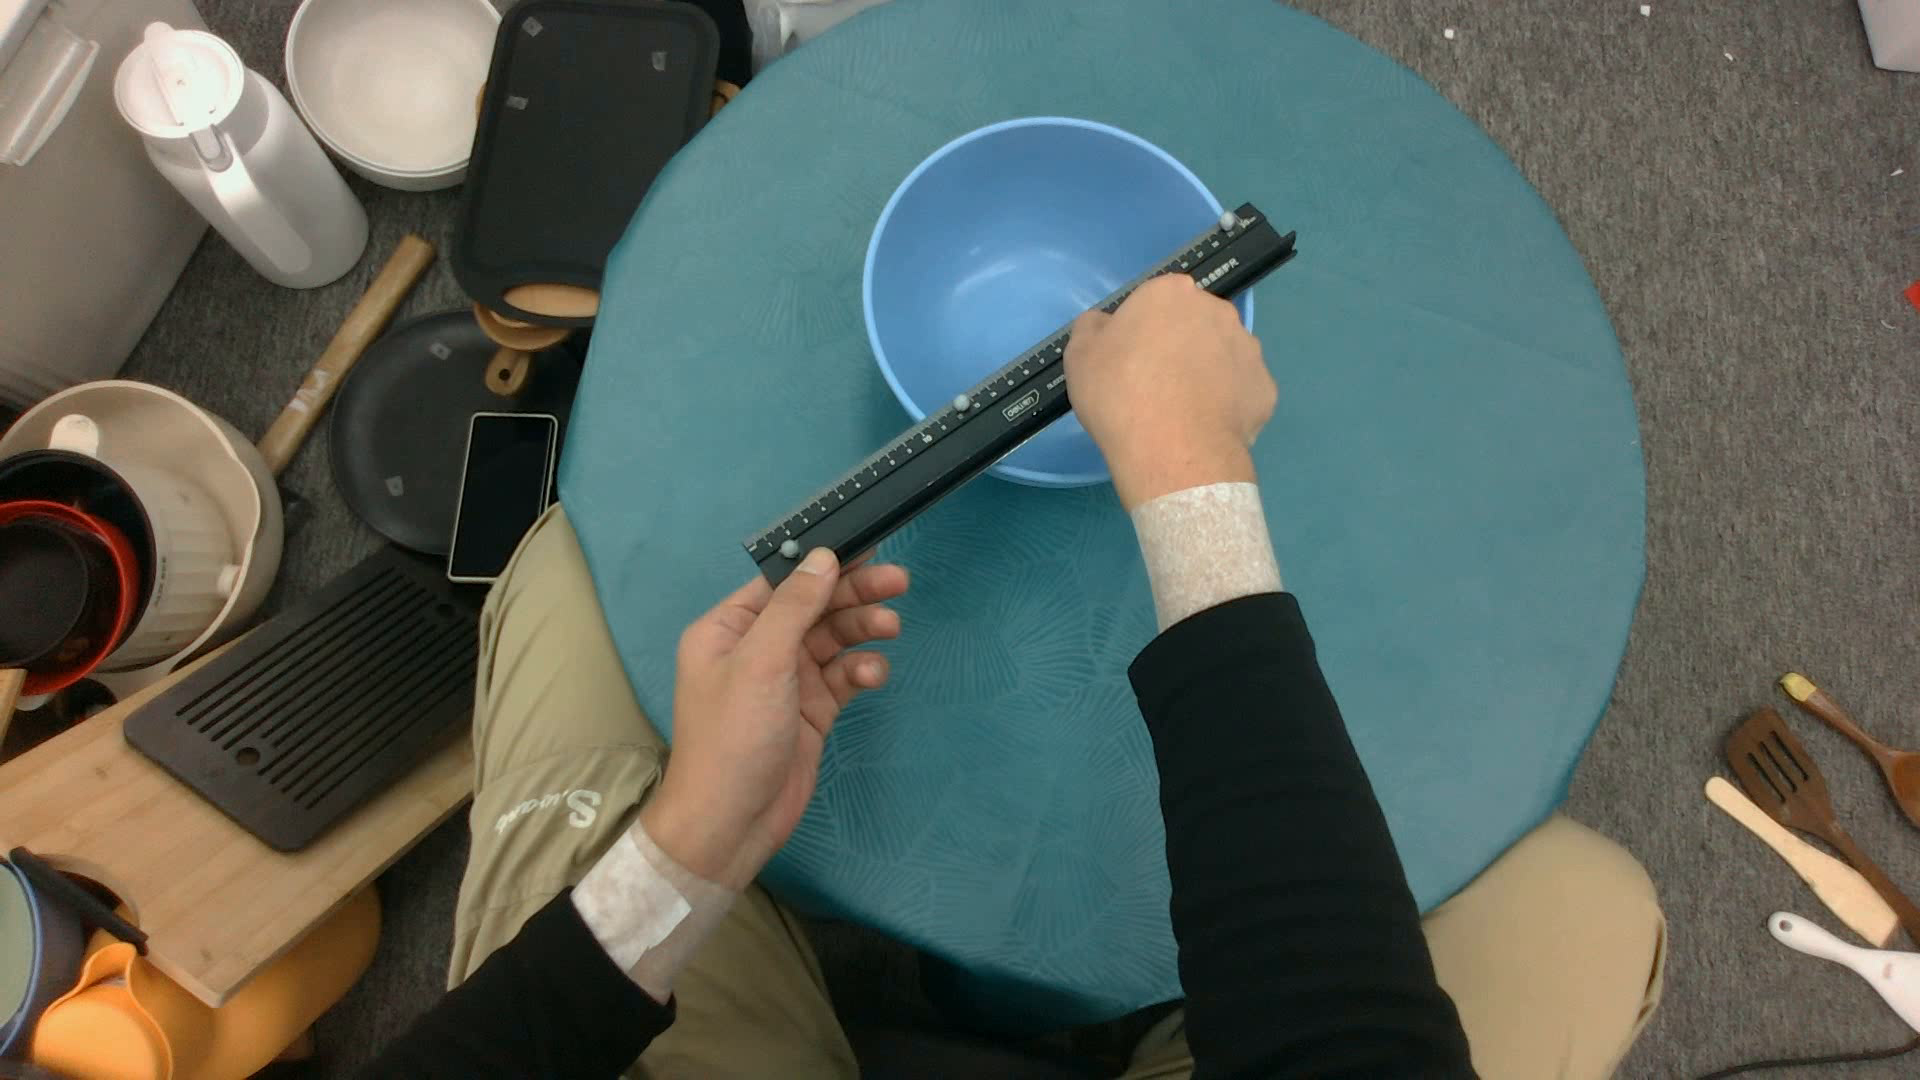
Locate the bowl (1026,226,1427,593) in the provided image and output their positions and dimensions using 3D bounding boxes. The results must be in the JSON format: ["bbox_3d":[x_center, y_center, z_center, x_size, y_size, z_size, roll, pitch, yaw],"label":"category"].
[{"bbox_3d":[0.133,-0.055,0.722,0.196,0.095,0.197,-1,70,3],"label":"bowl"}]

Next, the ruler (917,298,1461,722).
[{"bbox_3d":[0.113,-0.023,0.653,0.313,0.017,0.039,-36,67,-10],"label":"ruler"}]
